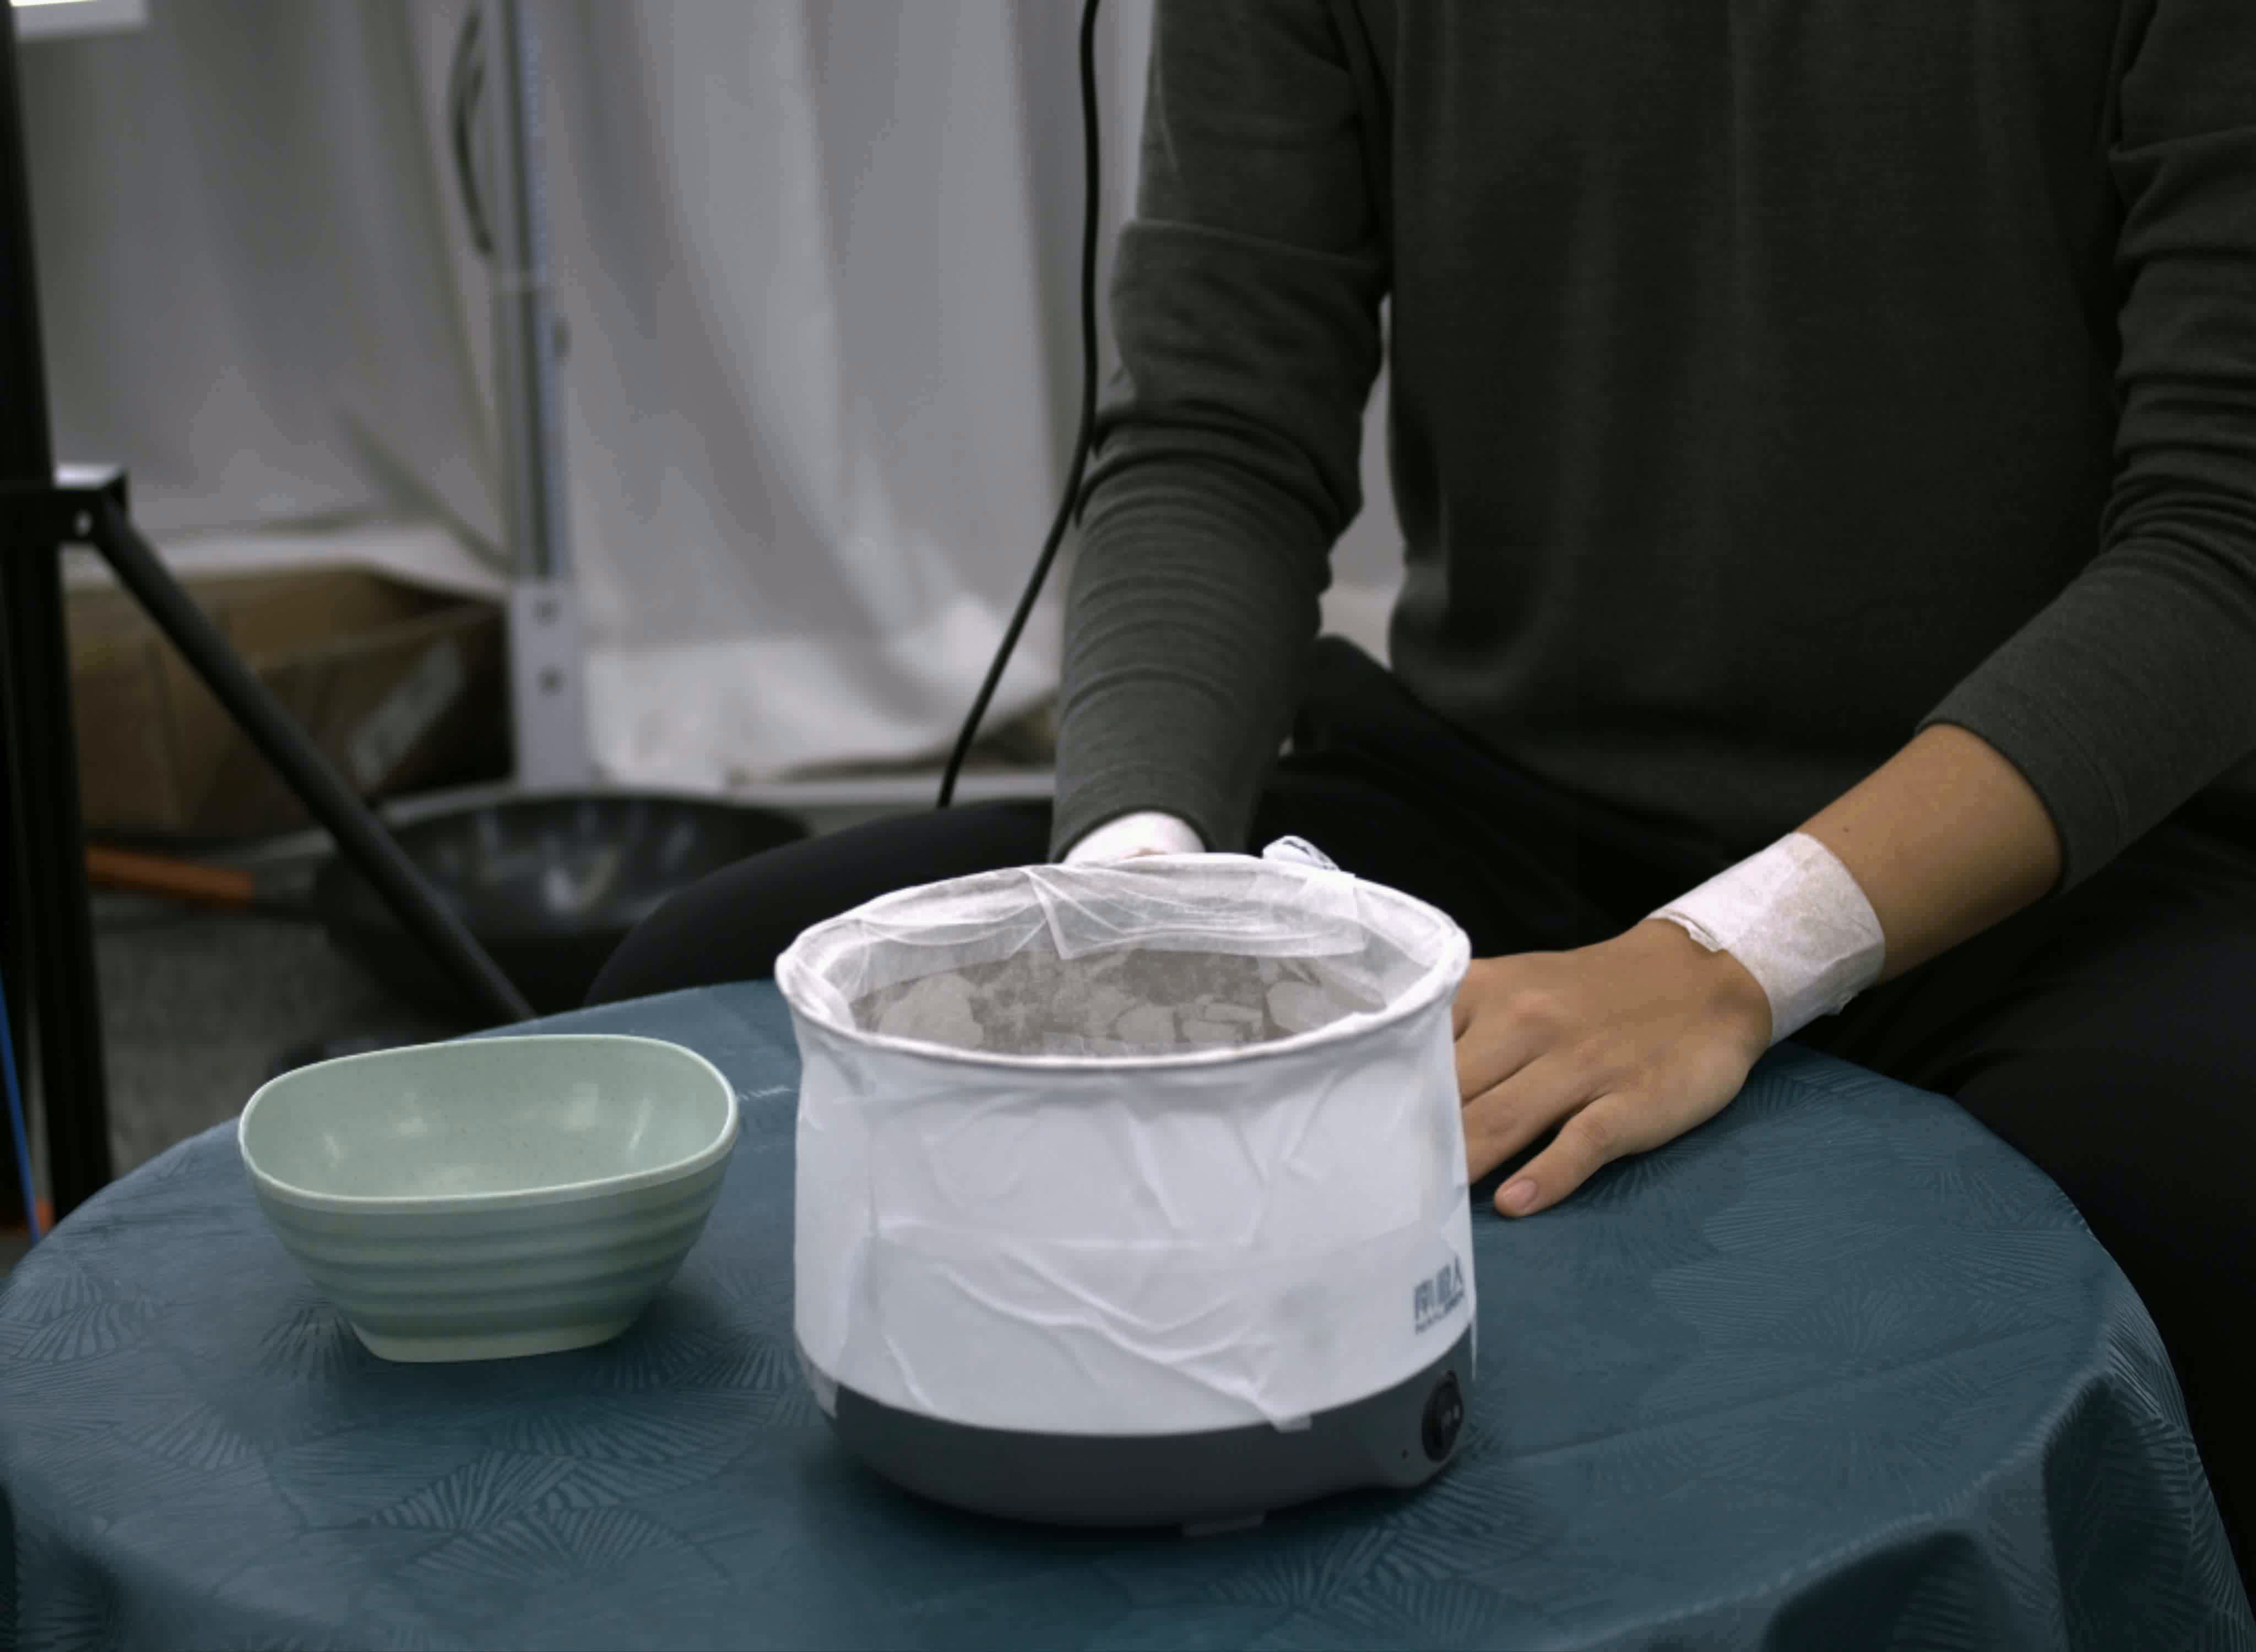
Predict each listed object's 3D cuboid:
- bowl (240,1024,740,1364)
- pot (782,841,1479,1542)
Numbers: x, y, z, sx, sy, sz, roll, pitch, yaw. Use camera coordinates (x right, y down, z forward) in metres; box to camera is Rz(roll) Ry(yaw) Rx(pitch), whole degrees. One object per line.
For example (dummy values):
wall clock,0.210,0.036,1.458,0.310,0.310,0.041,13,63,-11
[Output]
bowl,-0.176,0.107,1.490,0.151,0.058,0.152,-3,17,0
pot,0.014,0.088,1.386,0.181,0.136,0.230,5,16,27
